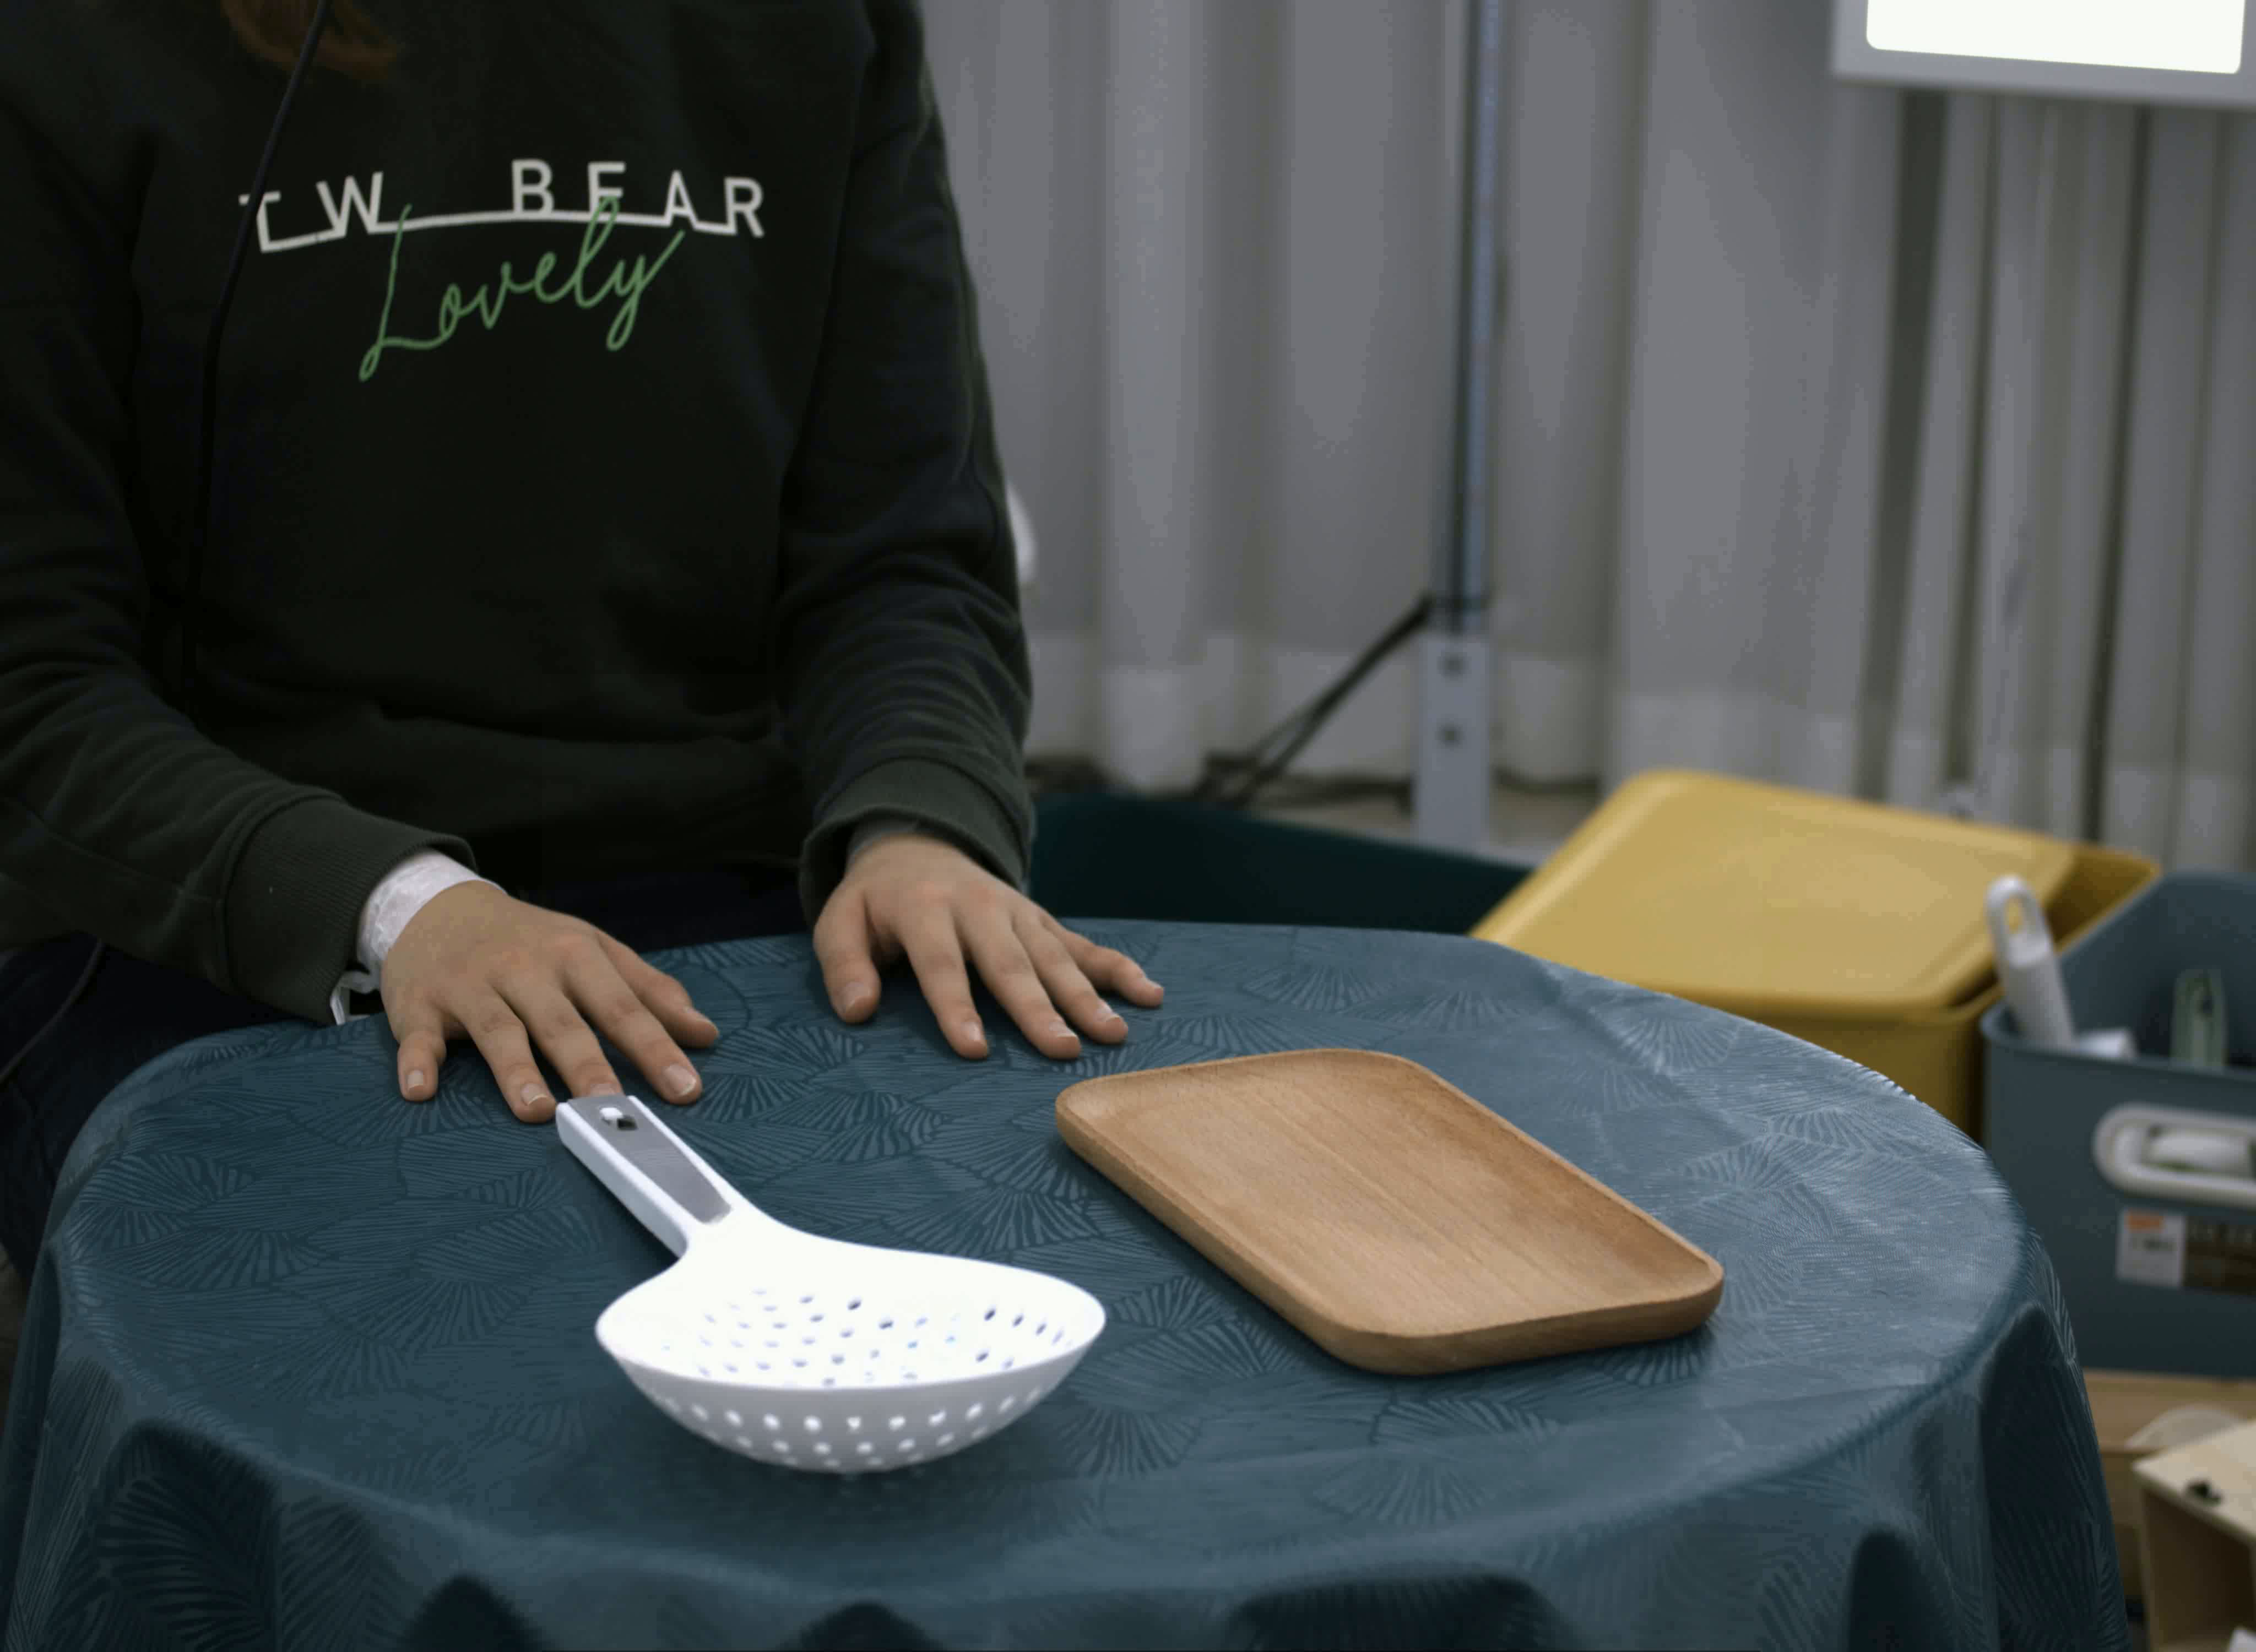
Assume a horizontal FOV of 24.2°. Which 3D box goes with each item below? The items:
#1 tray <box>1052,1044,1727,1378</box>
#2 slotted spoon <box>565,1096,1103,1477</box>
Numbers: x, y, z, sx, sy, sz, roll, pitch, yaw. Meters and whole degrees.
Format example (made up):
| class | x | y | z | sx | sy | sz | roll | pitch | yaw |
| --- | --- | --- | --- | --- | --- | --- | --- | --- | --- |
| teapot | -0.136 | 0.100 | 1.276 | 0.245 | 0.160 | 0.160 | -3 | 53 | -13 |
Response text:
| class | x | y | z | sx | sy | sz | roll | pitch | yaw |
| --- | --- | --- | --- | --- | --- | --- | --- | --- | --- |
| tray | 0.074 | 0.114 | 1.596 | 0.131 | 0.023 | 0.248 | -4 | 16 | -23 |
| slotted spoon | -0.110 | 0.122 | 1.505 | 0.136 | 0.046 | 0.346 | -2 | 15 | -19 |
